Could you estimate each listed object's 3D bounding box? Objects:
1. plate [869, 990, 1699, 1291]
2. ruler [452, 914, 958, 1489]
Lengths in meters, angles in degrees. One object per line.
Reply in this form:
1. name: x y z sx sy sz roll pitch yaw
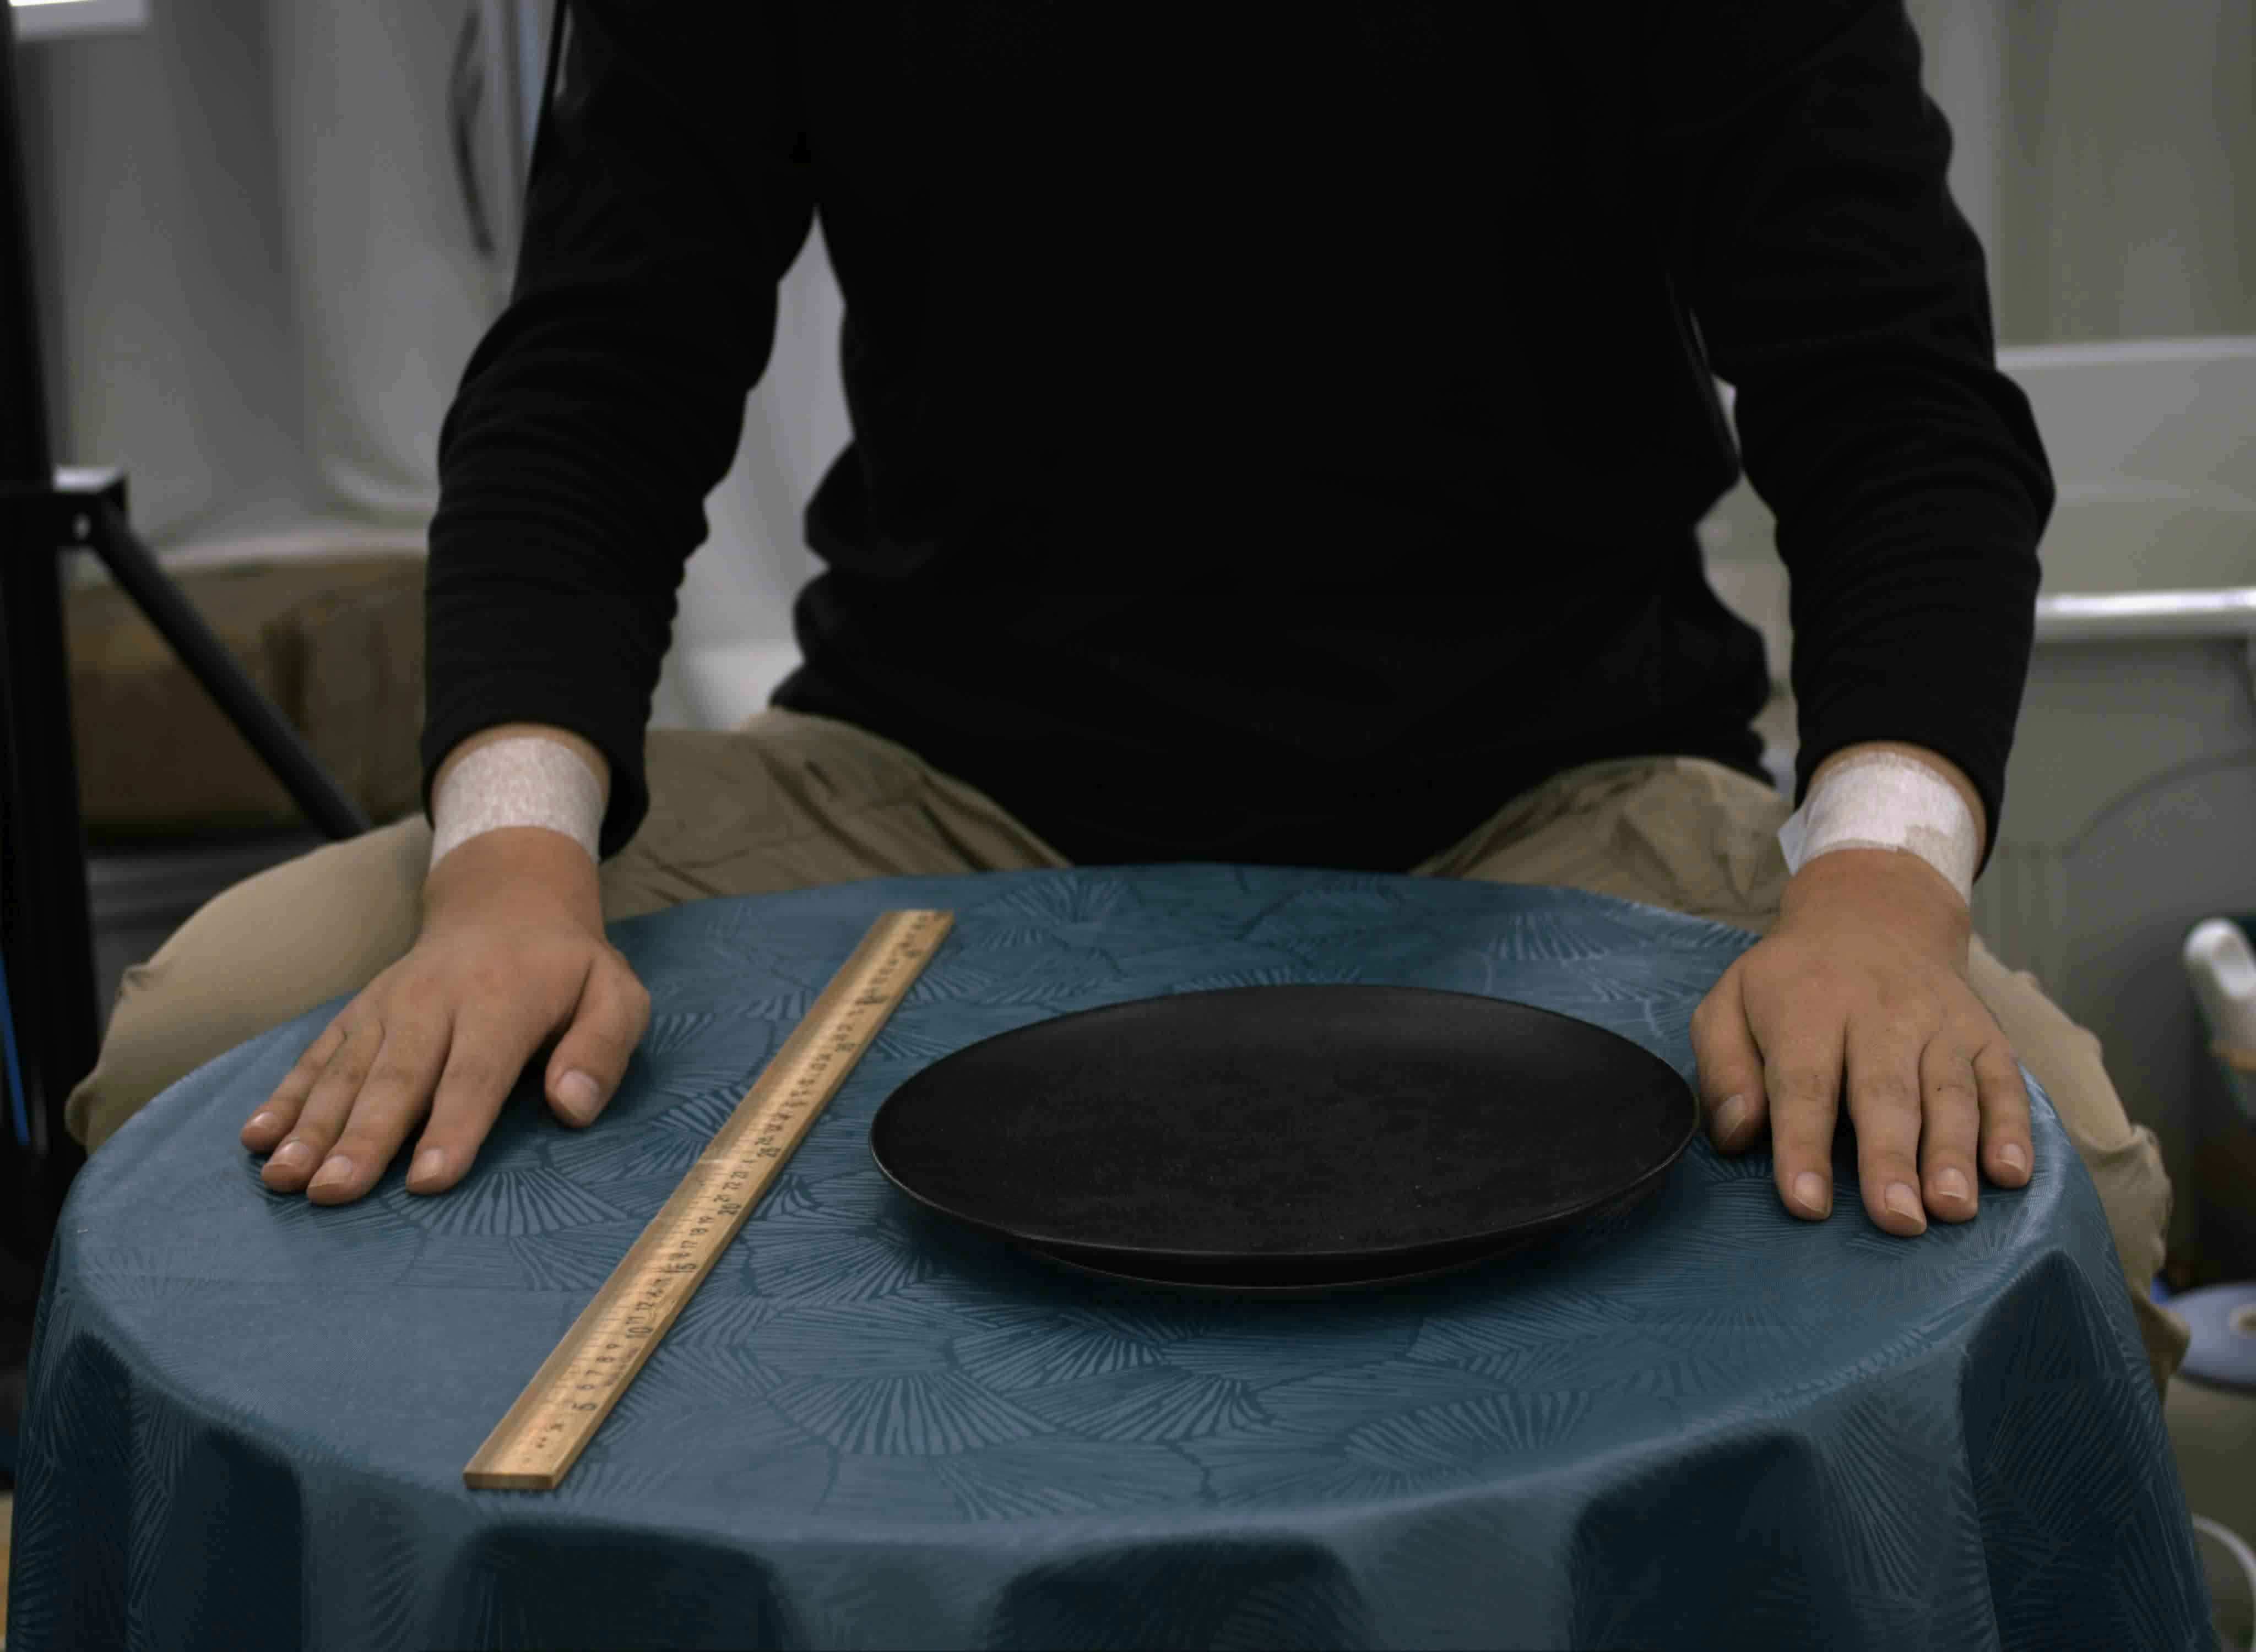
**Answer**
1. plate: 0.046 0.094 1.555 0.243 0.023 0.245 -3 16 -1
2. ruler: -0.115 0.100 1.595 0.027 0.006 0.498 2 16 10
